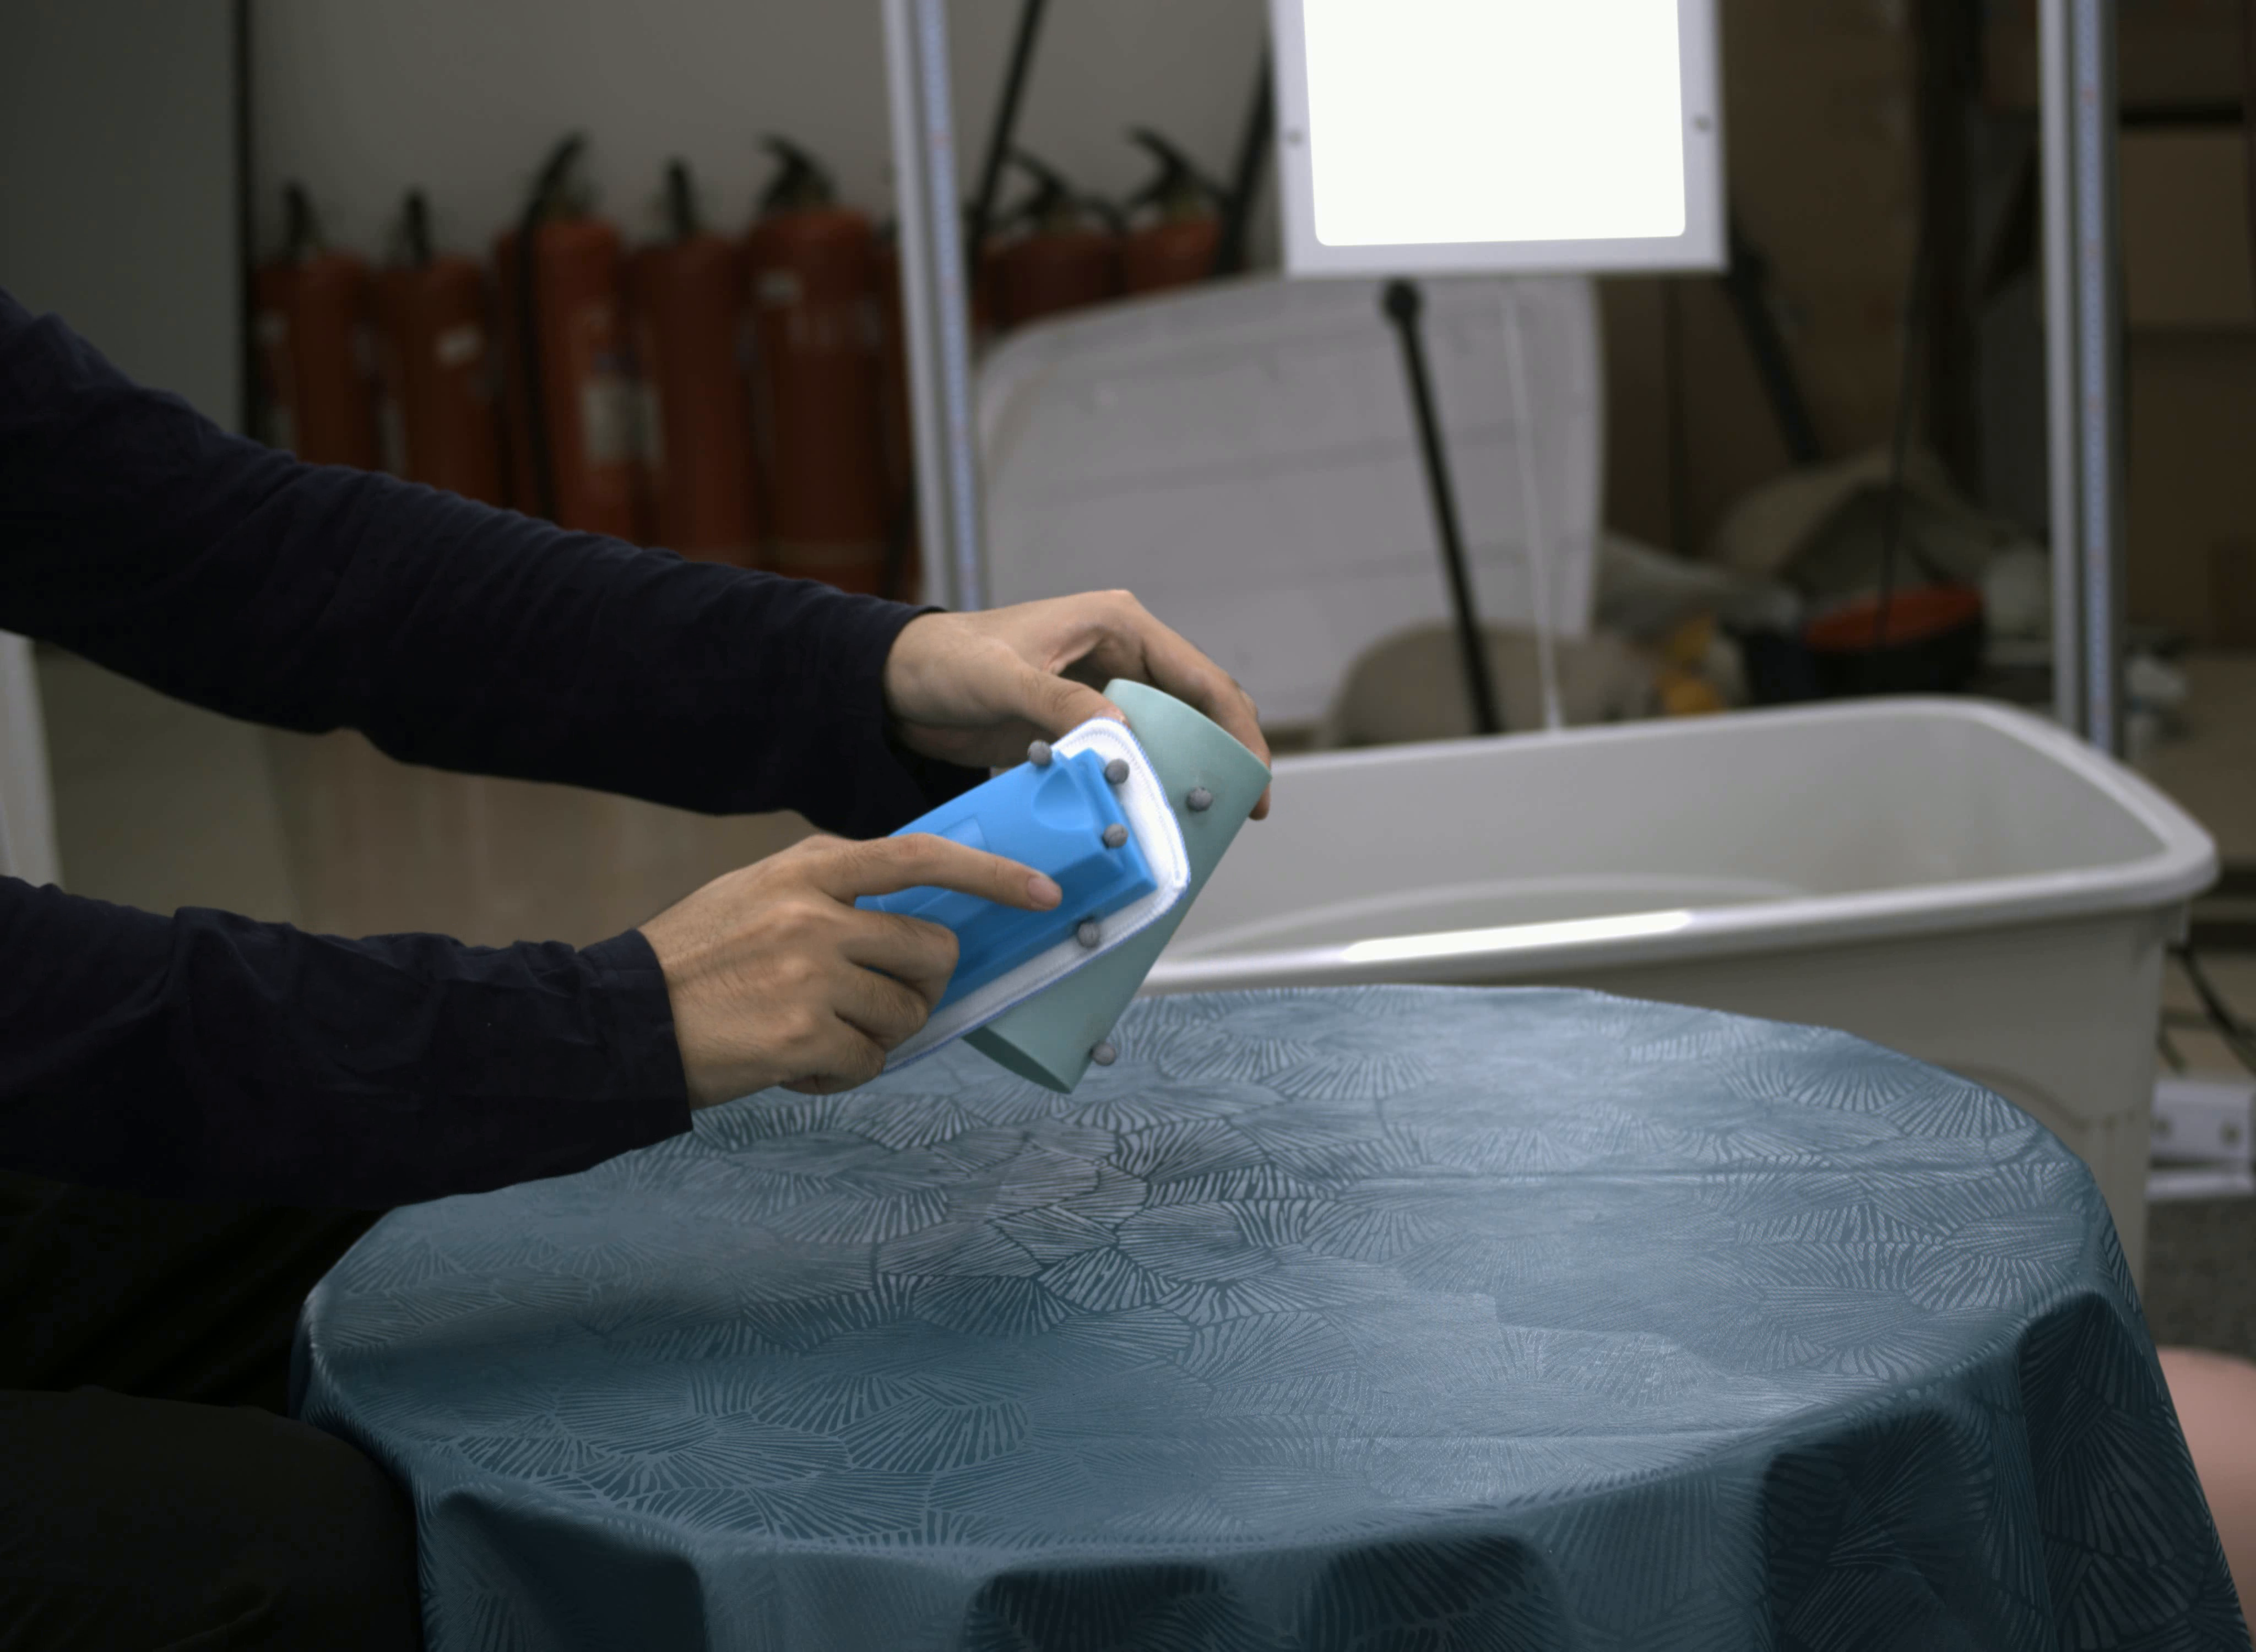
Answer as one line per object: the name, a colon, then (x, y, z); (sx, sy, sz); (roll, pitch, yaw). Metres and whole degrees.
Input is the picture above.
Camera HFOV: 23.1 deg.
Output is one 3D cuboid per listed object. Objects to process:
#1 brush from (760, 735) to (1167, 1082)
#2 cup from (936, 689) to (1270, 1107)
brush: (-0.061, 0.021, 1.836); (0.145, 0.084, 0.055); (-28, -35, 11)
cup: (-0.013, 0.023, 1.887); (0.067, 0.132, 0.067); (31, -6, 2)
